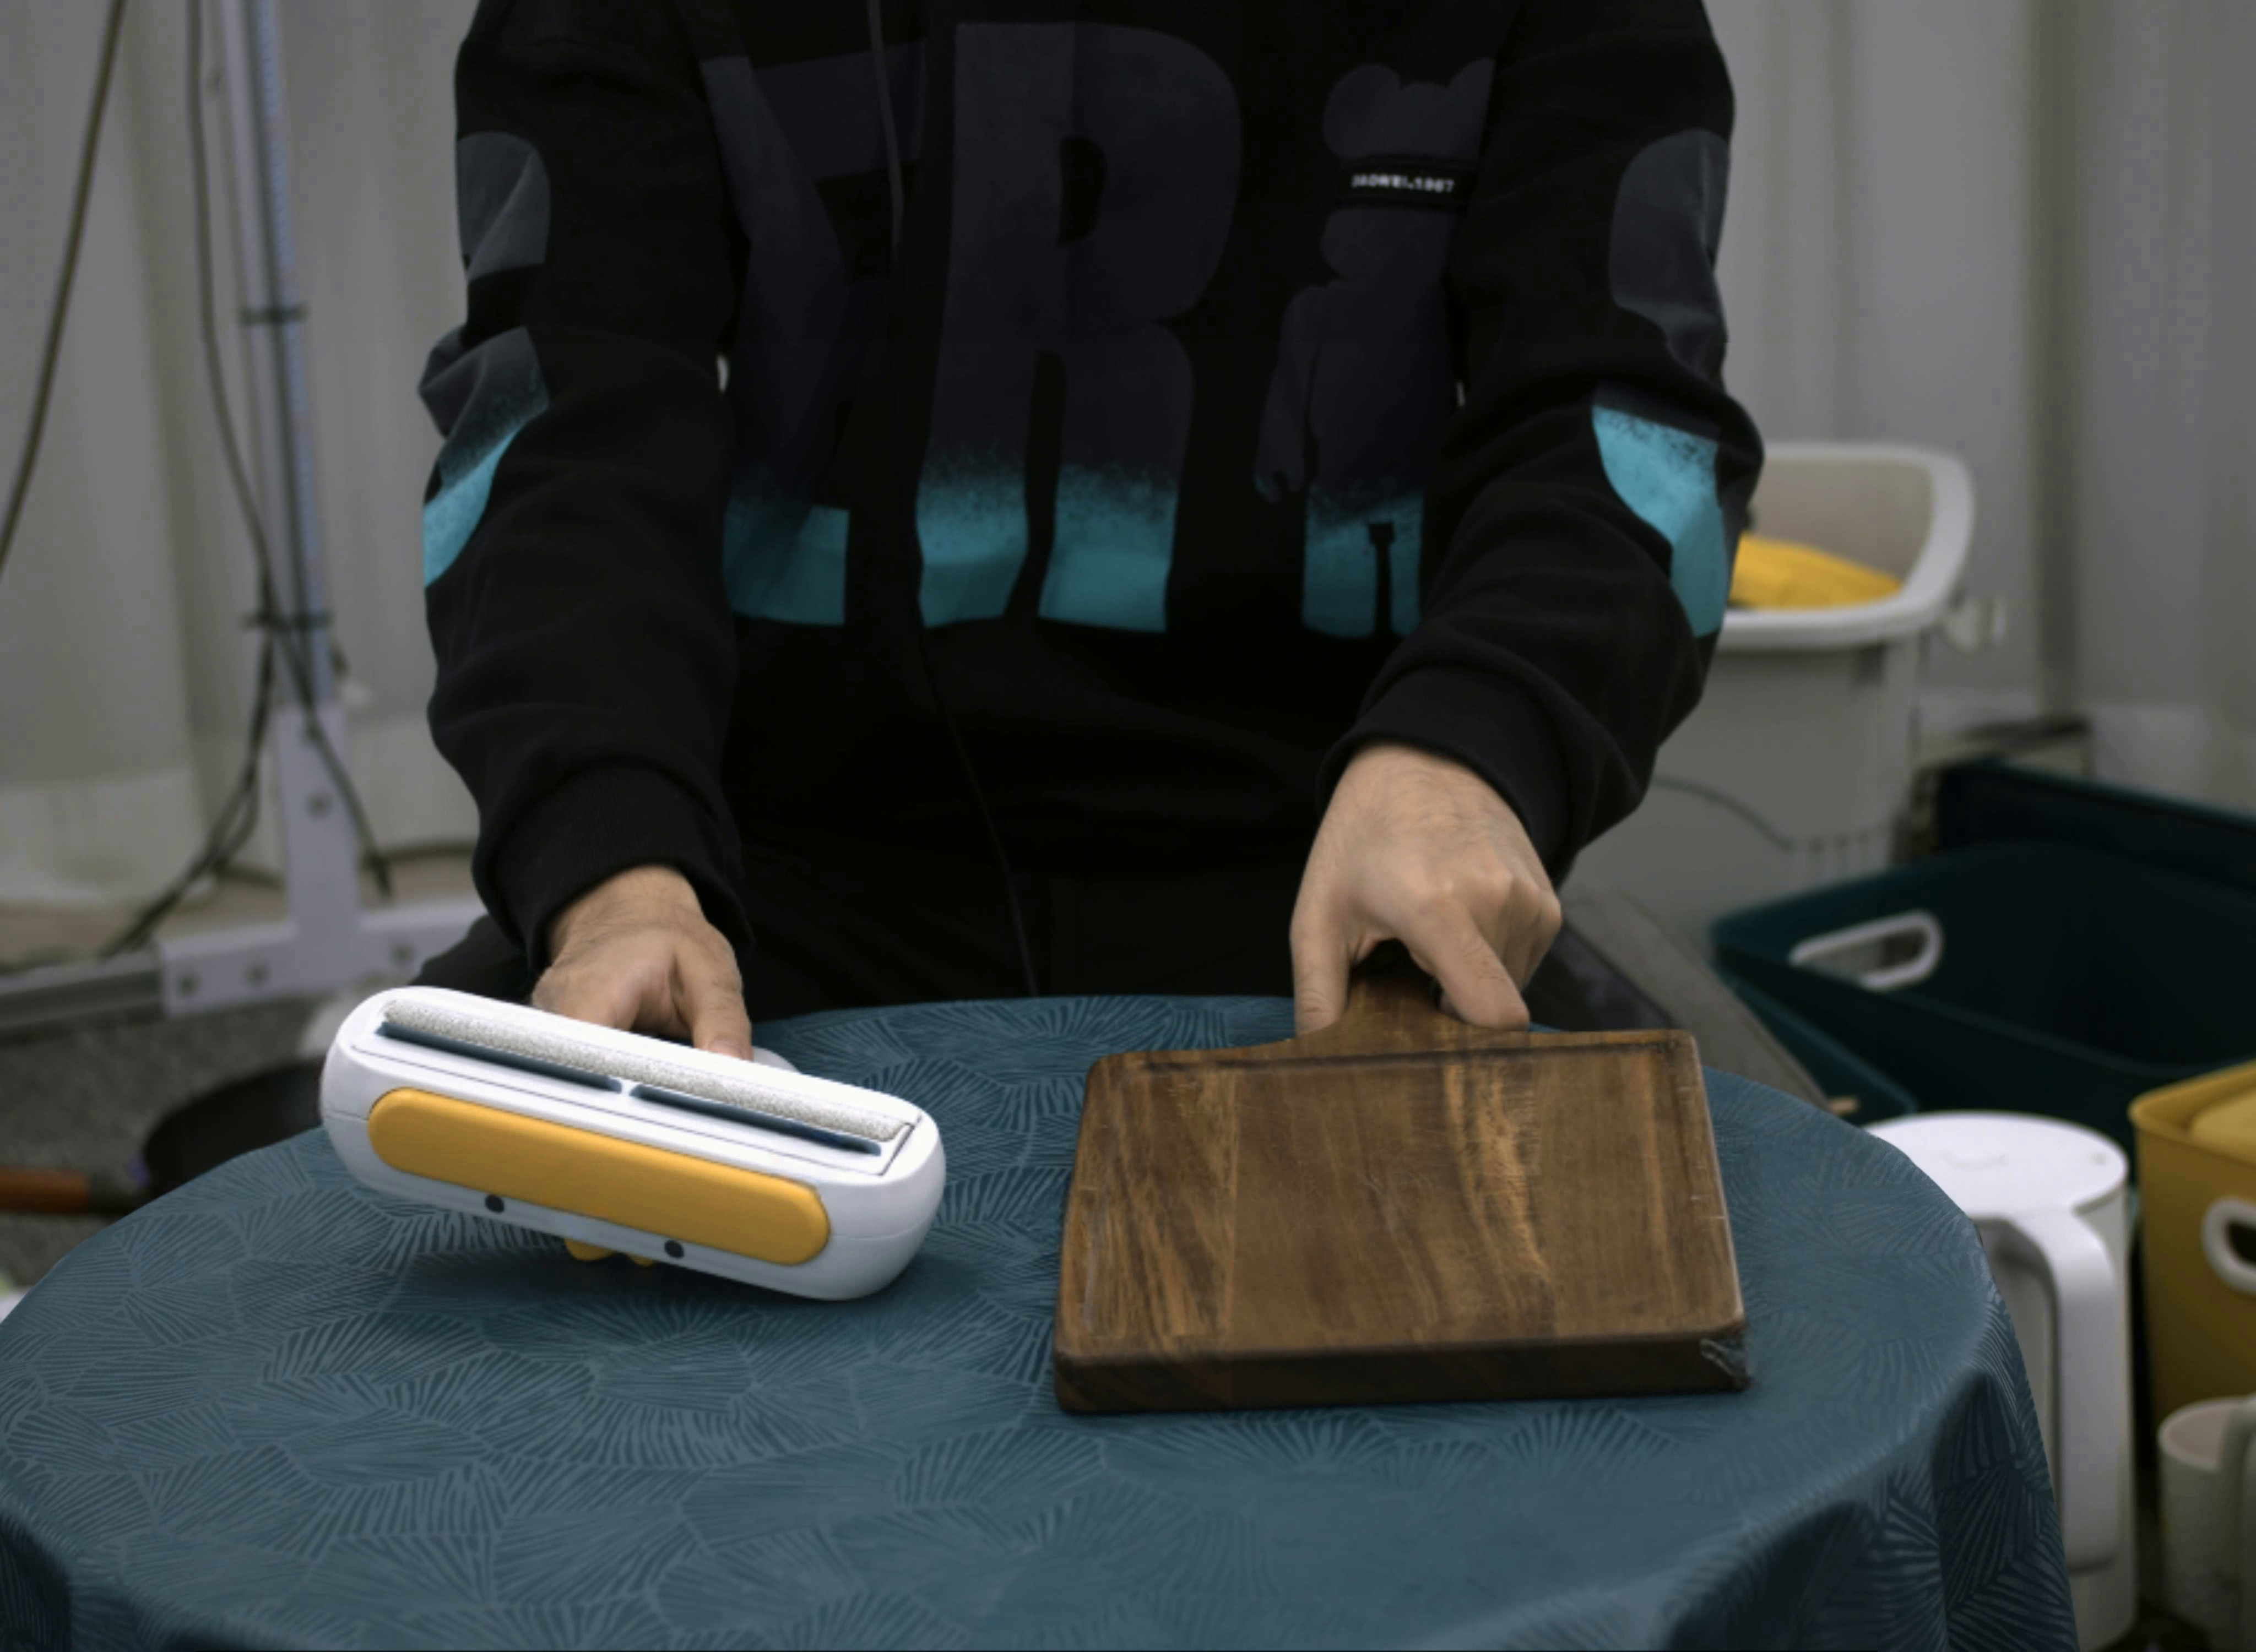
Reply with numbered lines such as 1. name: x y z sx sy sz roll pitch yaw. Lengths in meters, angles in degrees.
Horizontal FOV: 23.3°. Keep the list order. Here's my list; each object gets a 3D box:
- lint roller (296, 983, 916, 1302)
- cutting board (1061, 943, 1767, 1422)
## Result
1. lint roller: -0.142 0.087 1.712 0.193 0.074 0.193 9 17 15
2. cutting board: 0.083 0.101 1.684 0.200 0.023 0.355 -3 17 3
